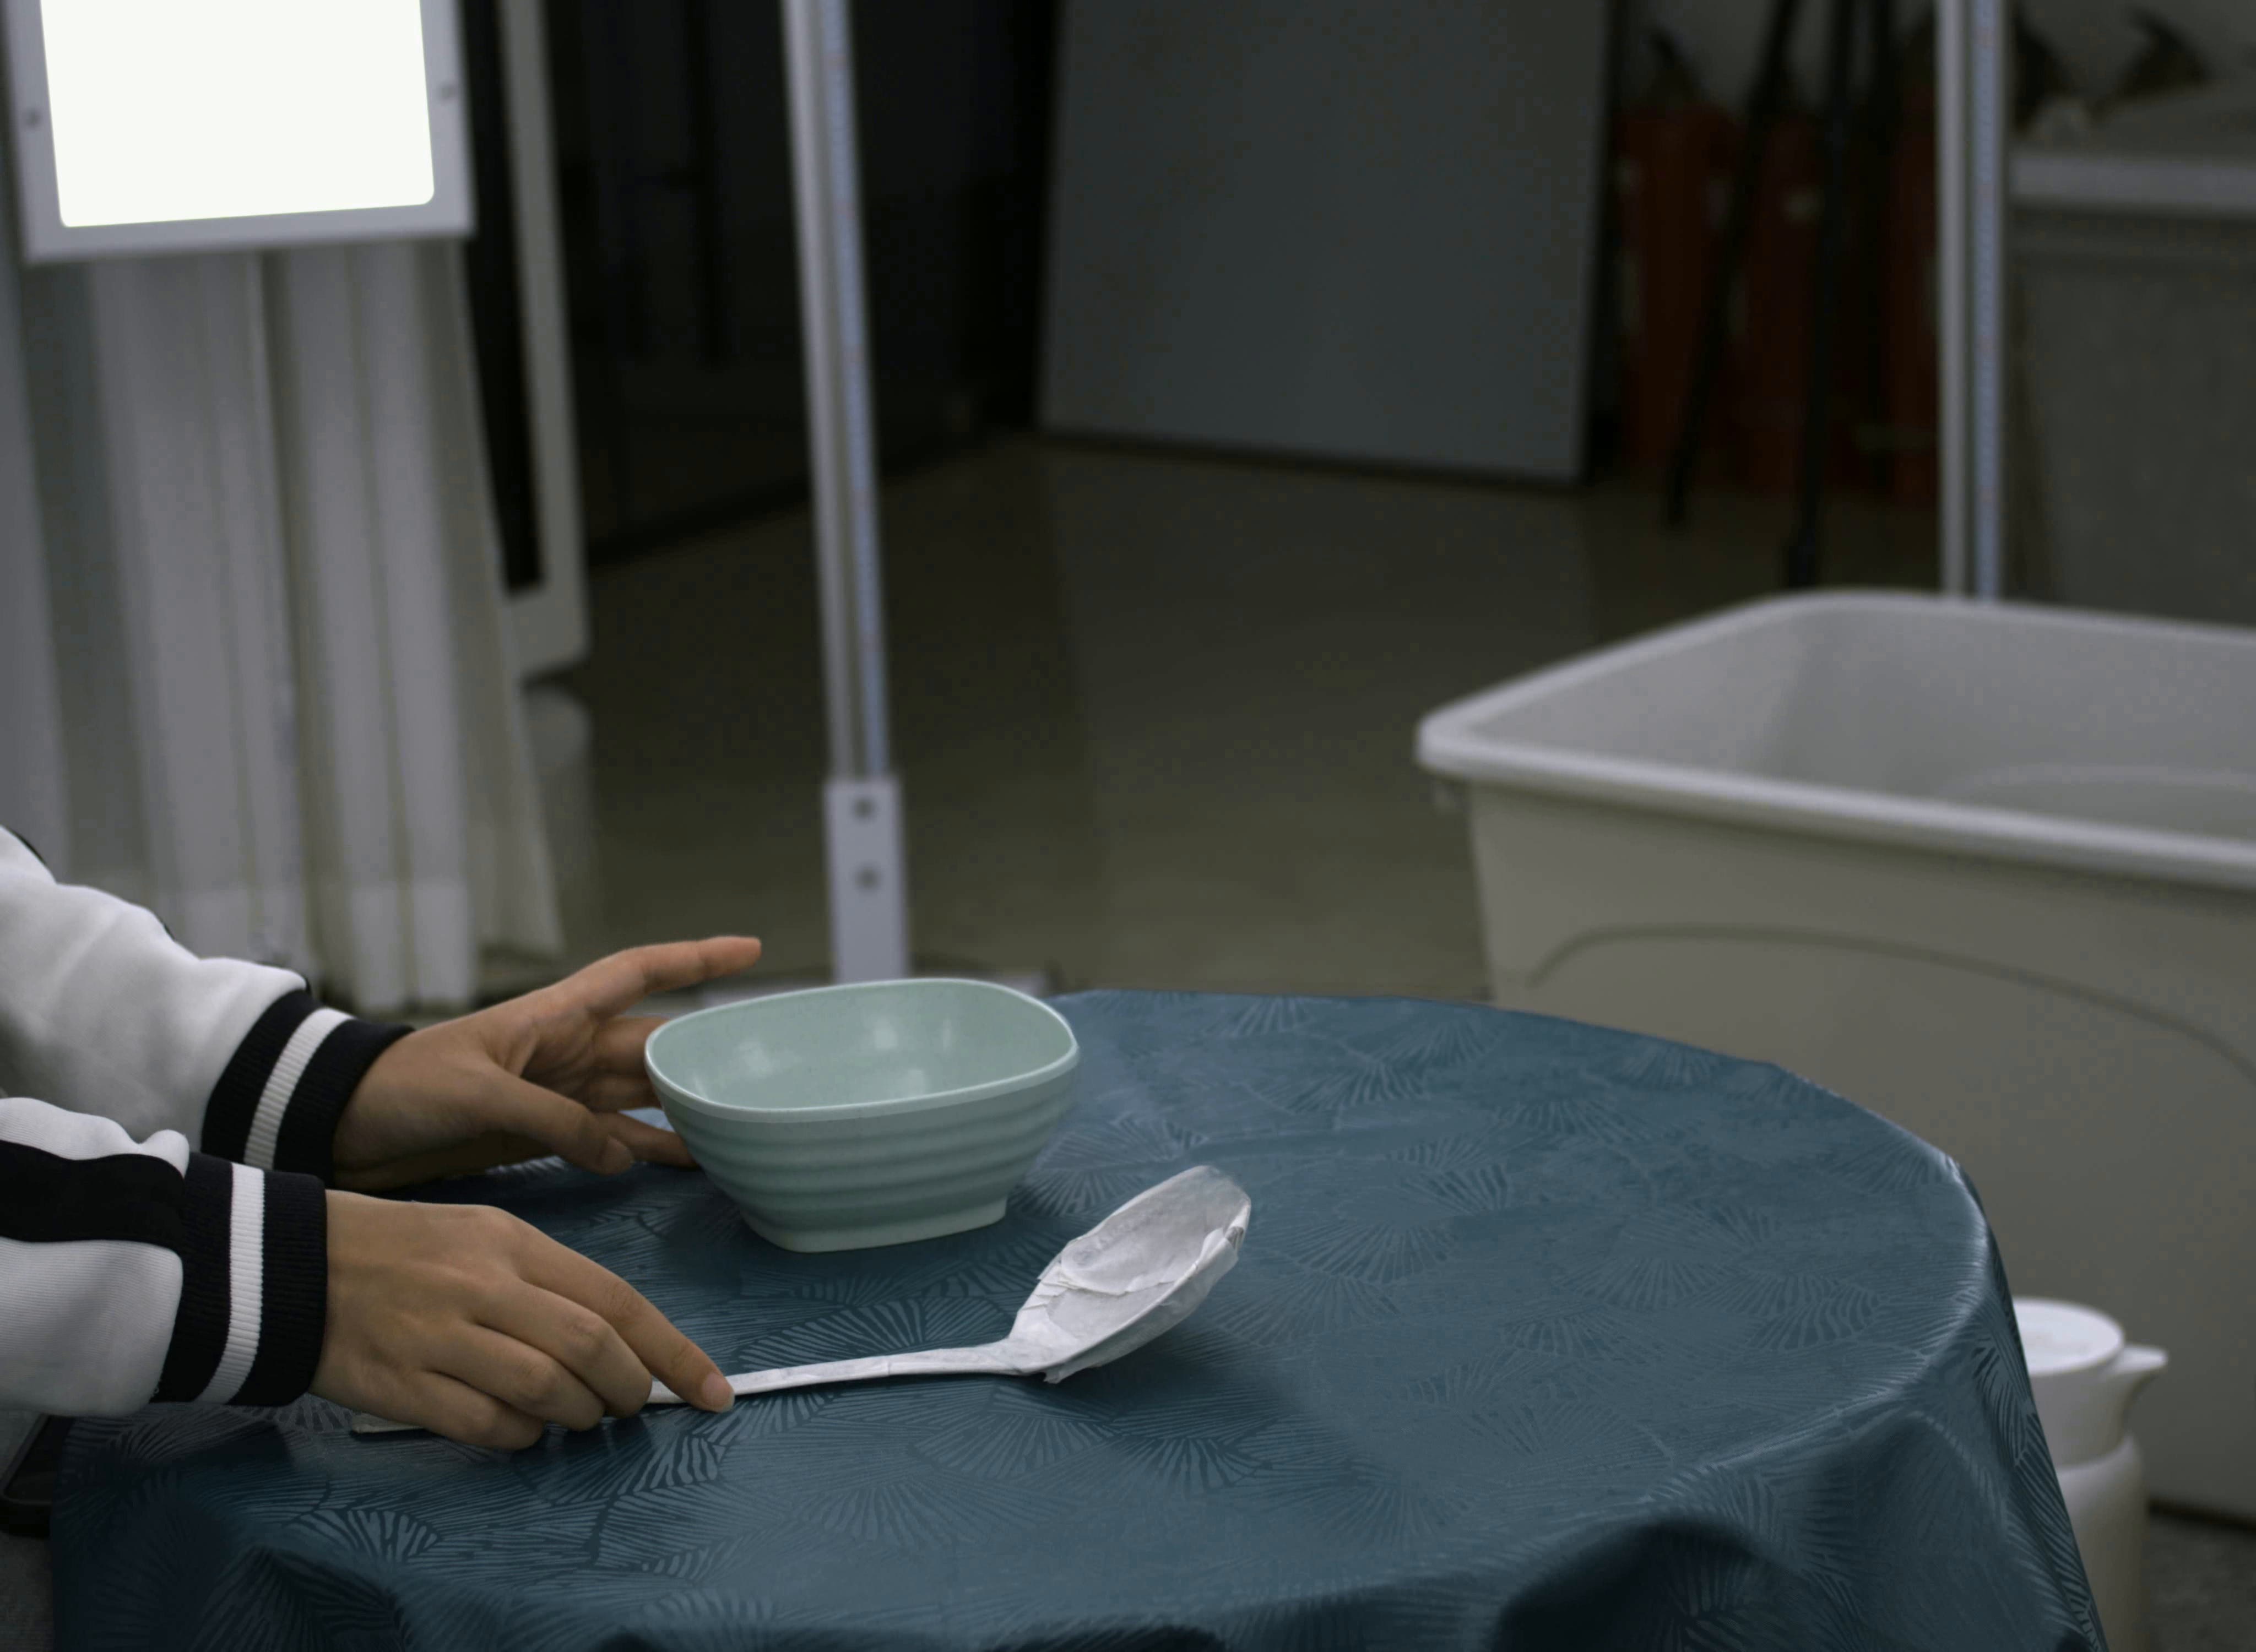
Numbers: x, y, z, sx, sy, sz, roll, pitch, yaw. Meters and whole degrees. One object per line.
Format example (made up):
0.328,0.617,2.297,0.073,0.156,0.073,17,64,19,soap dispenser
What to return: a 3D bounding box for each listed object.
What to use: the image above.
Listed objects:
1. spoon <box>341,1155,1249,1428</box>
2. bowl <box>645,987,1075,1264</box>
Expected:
-0.099,0.138,1.611,0.274,0.060,0.101,-4,9,0,spoon
-0.086,0.101,1.767,0.149,0.059,0.152,-4,14,0,bowl
